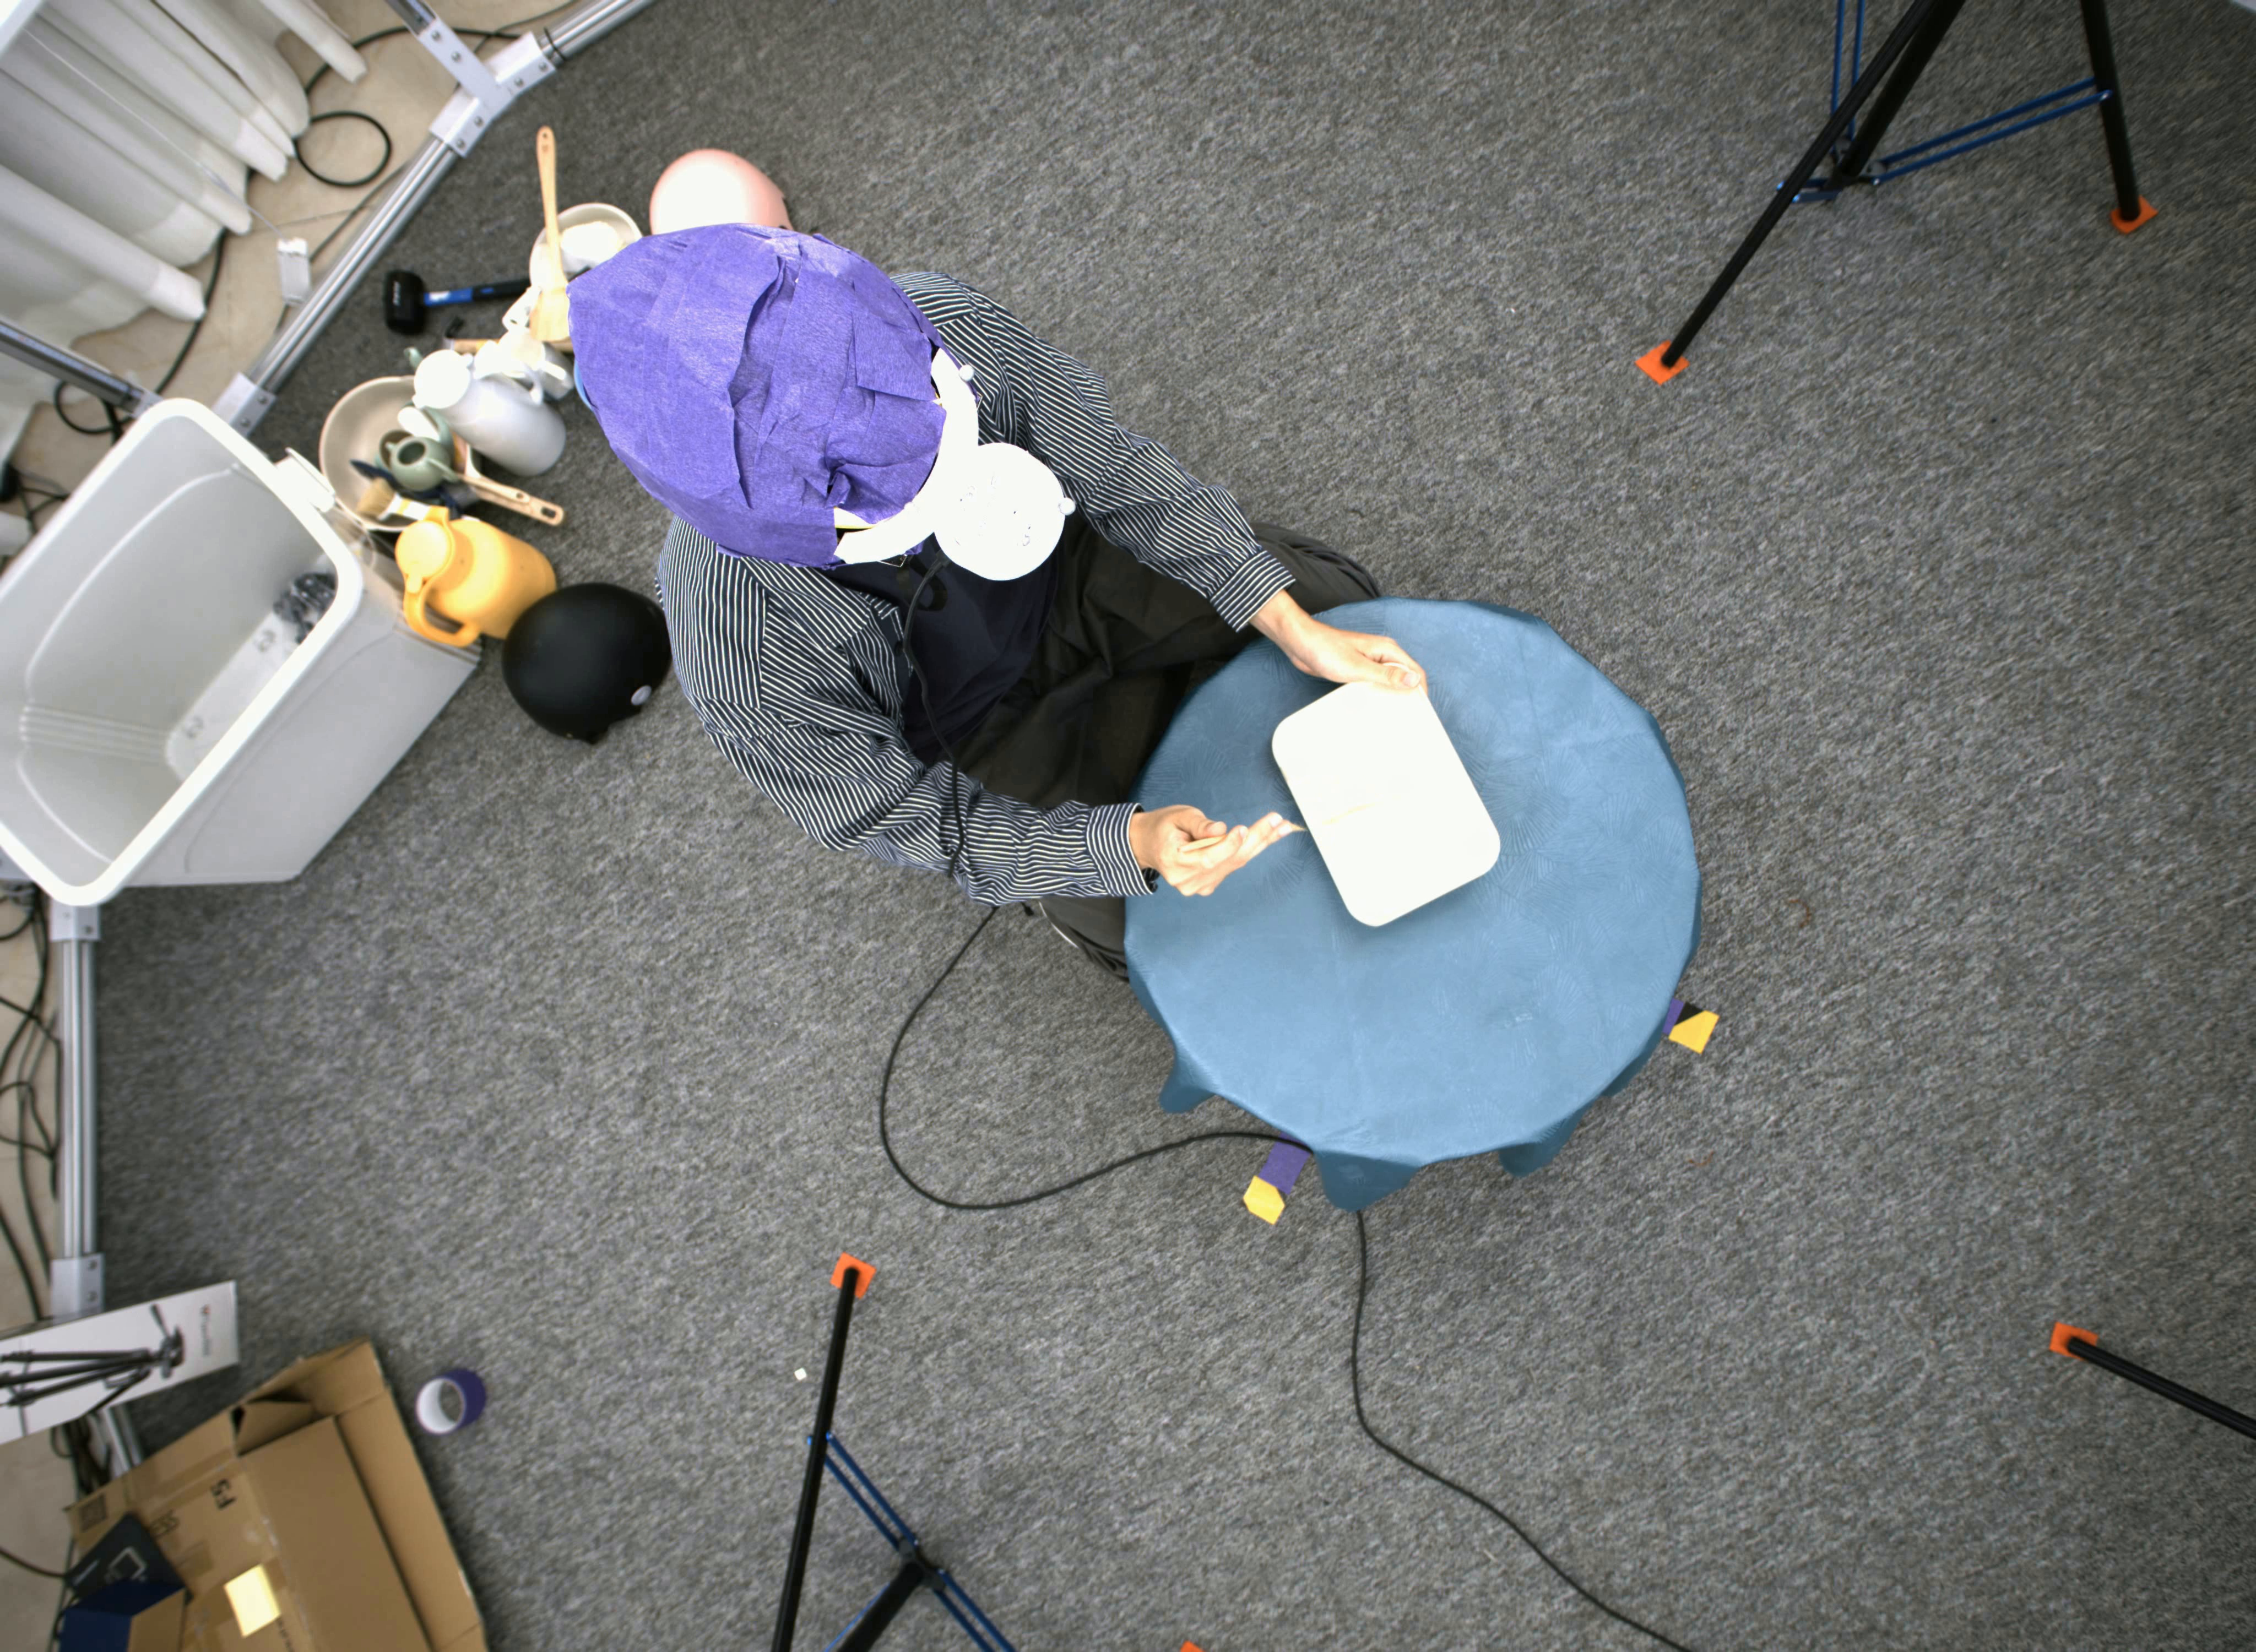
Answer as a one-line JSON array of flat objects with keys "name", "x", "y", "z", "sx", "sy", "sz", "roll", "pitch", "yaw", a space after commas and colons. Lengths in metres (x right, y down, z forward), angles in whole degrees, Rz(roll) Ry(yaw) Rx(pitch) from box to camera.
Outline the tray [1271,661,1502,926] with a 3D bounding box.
[{"name": "tray", "x": 0.259, "y": -0.034, "z": 1.393, "sx": 0.174, "sy": 0.017, "sz": 0.237, "roll": -29, "pitch": 79, "yaw": 23}]

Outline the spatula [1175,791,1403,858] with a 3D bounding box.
[{"name": "spatula", "x": 0.146, "y": -0.002, "z": 1.274, "sx": 0.081, "sy": 0.323, "sz": 0.016, "roll": -14, "pitch": 88, "yaw": 41}]
